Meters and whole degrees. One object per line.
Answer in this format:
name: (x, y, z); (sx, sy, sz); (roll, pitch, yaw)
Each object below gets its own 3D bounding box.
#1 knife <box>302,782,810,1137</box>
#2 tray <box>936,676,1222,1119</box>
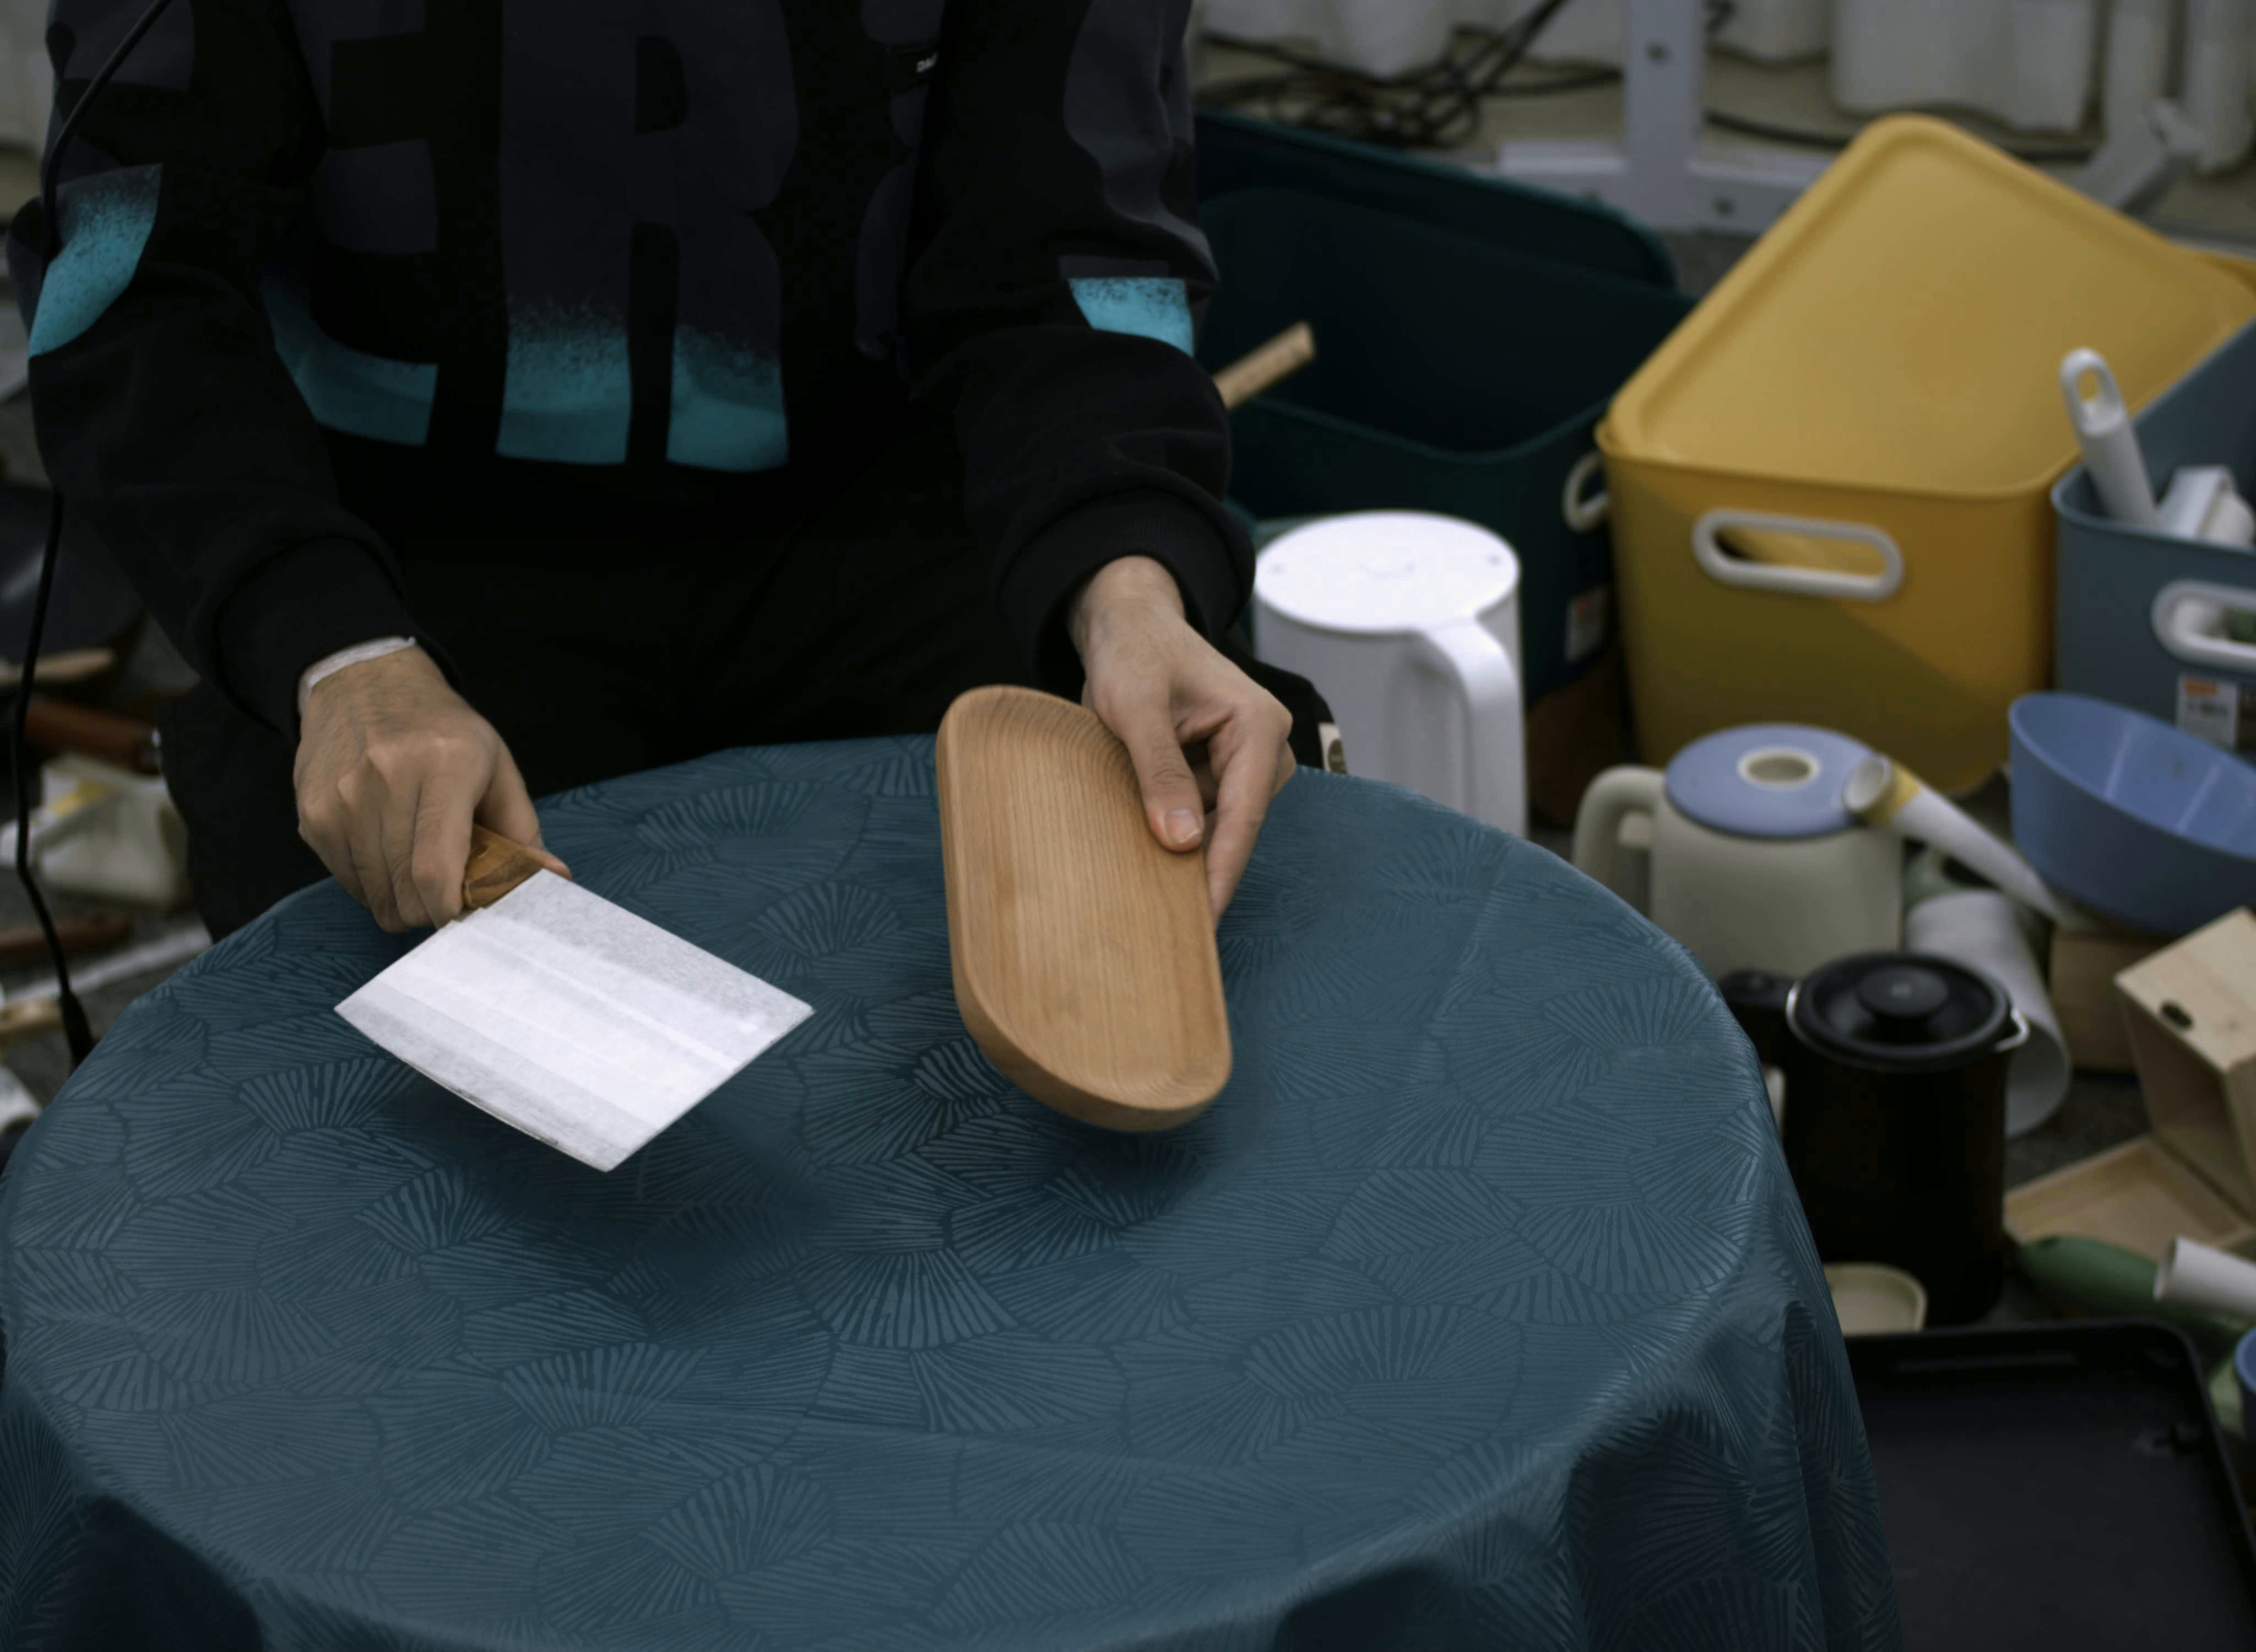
knife: (-0.219, 0.047, 1.922); (0.094, 0.021, 0.305); (-39, 33, -21)
tray: (-0.019, 0.023, 1.937); (0.101, 0.020, 0.235); (23, 29, -18)
